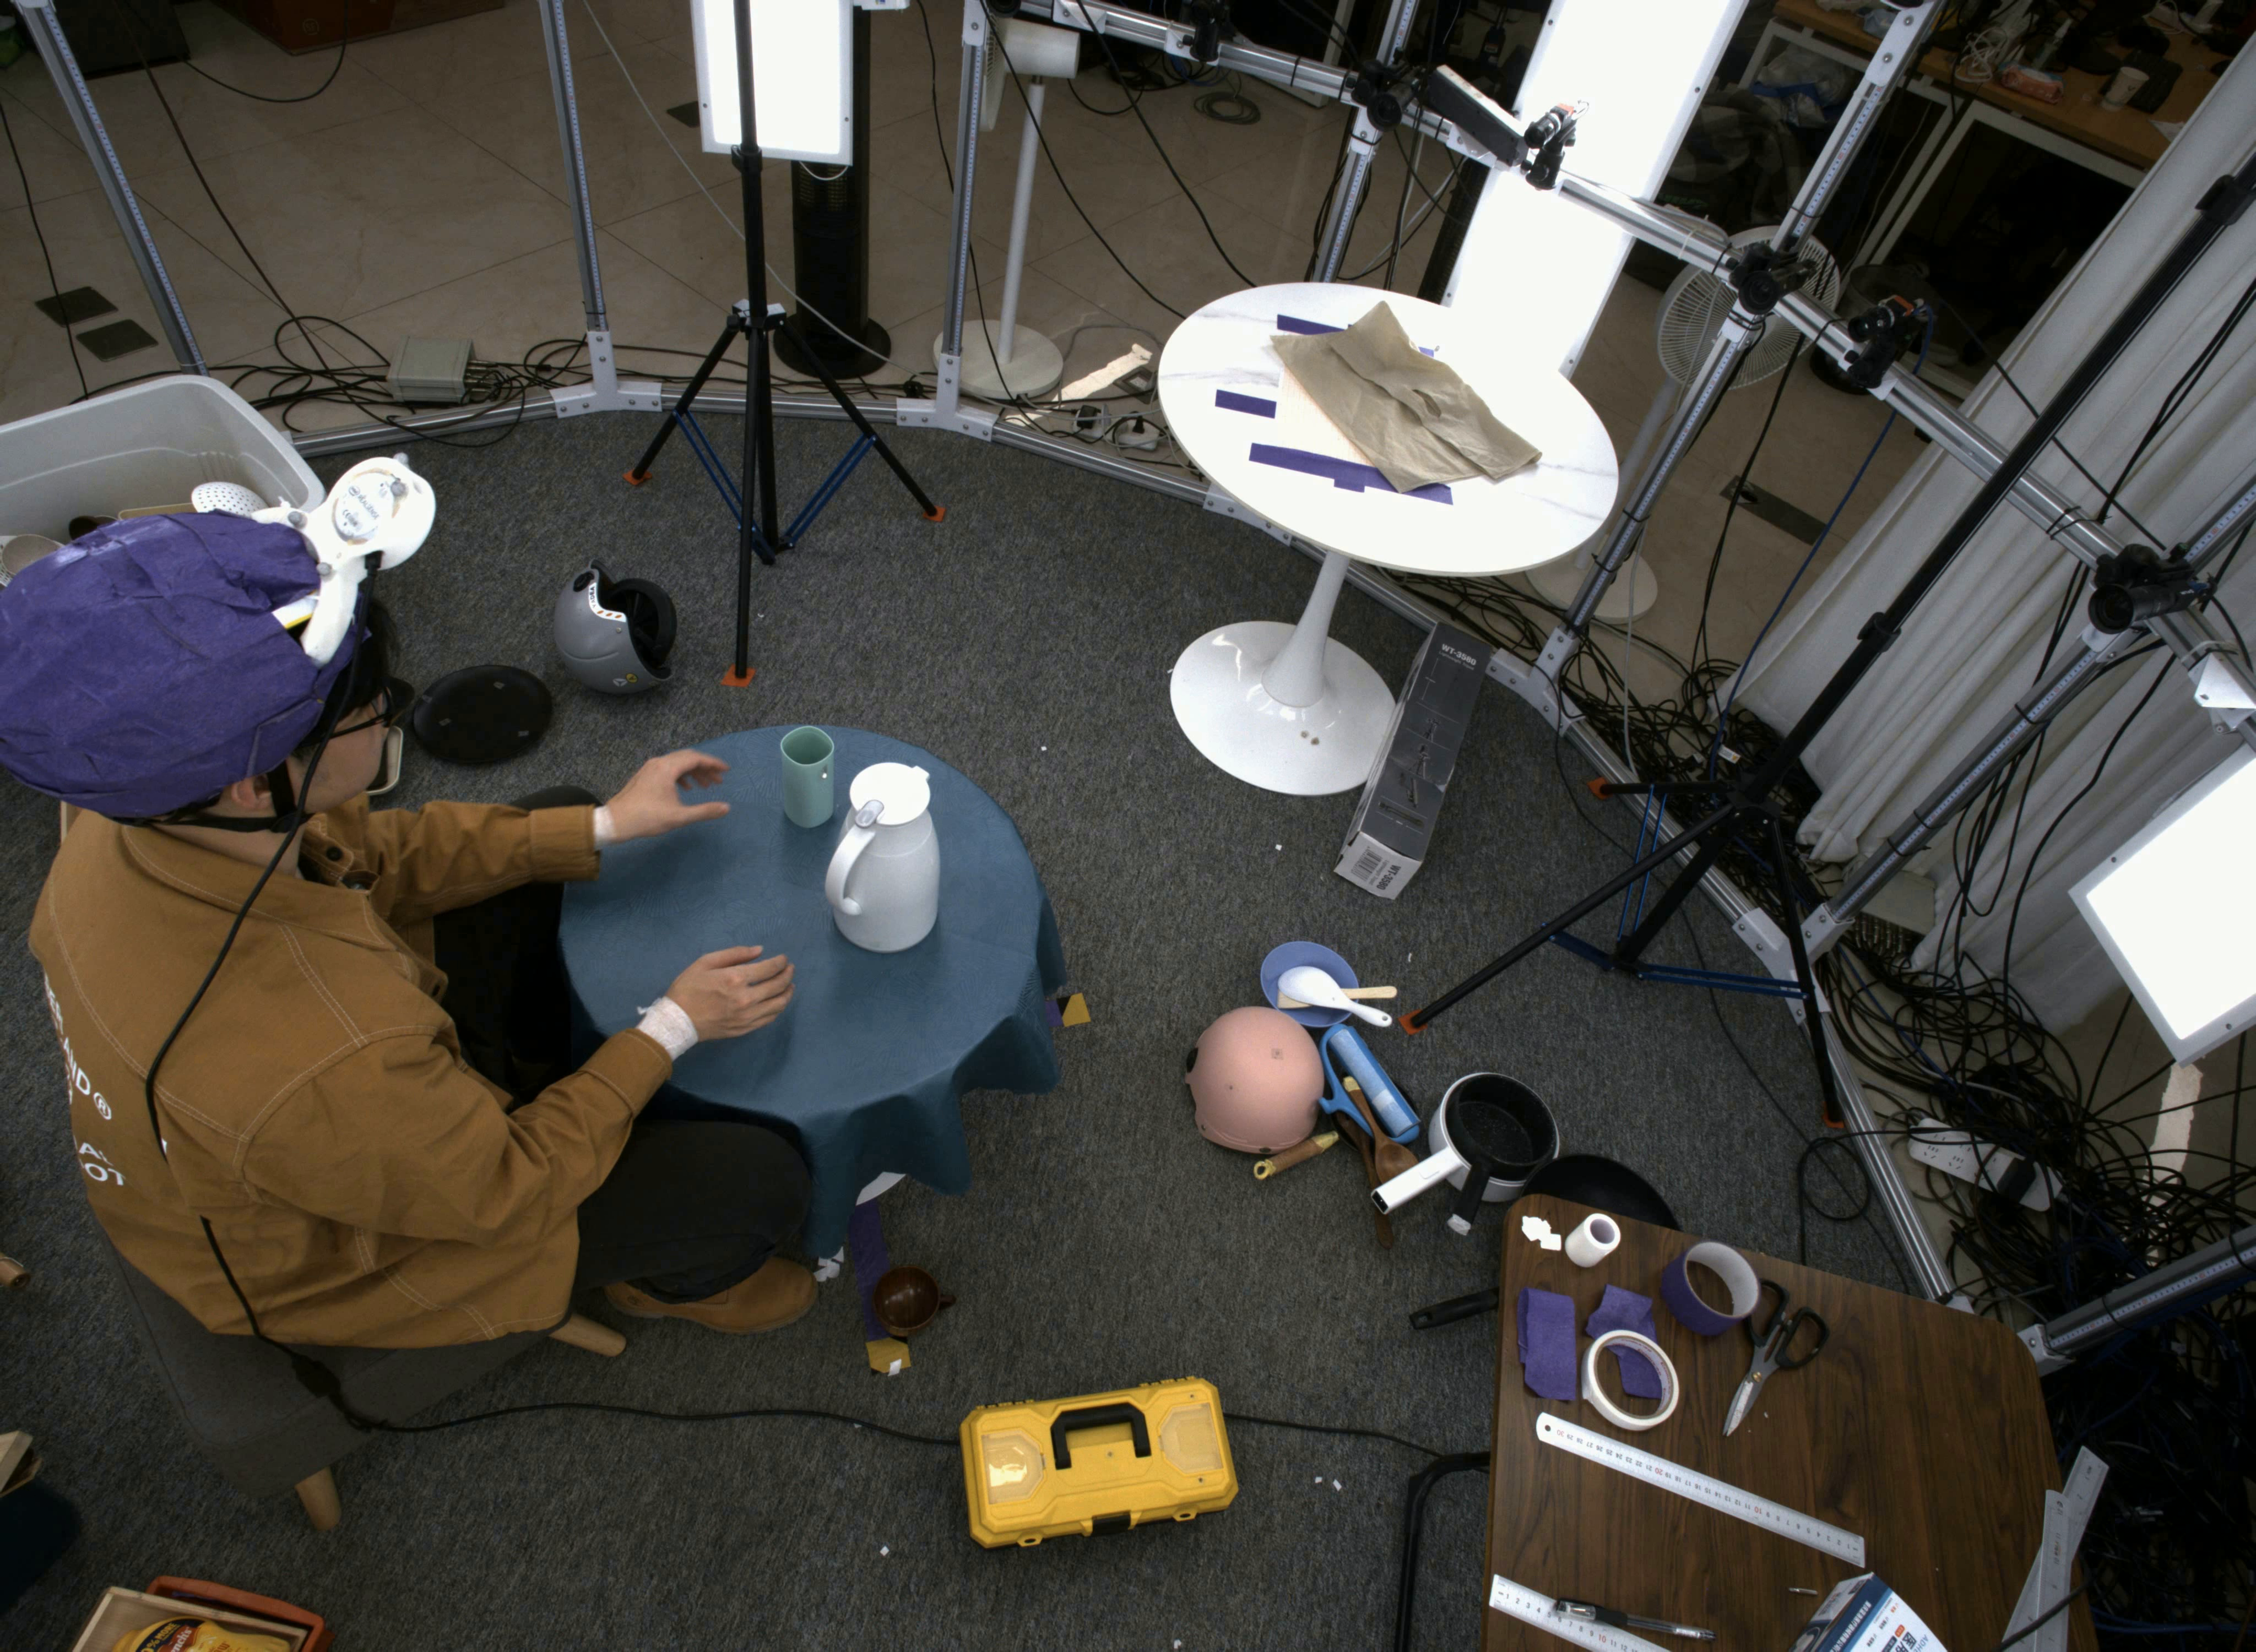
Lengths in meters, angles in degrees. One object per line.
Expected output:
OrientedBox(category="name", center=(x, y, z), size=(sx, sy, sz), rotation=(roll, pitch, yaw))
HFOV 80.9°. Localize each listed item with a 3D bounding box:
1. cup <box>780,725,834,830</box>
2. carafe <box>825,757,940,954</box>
OrientedBox(category="cup", center=(-0.419, -0.062, 1.689), size=(0.066, 0.135, 0.065), rotation=(7, 51, -7))
OrientedBox(category="carafe", center=(-0.300, 0.042, 1.562), size=(0.130, 0.254, 0.167), rotation=(30, 53, 12))
